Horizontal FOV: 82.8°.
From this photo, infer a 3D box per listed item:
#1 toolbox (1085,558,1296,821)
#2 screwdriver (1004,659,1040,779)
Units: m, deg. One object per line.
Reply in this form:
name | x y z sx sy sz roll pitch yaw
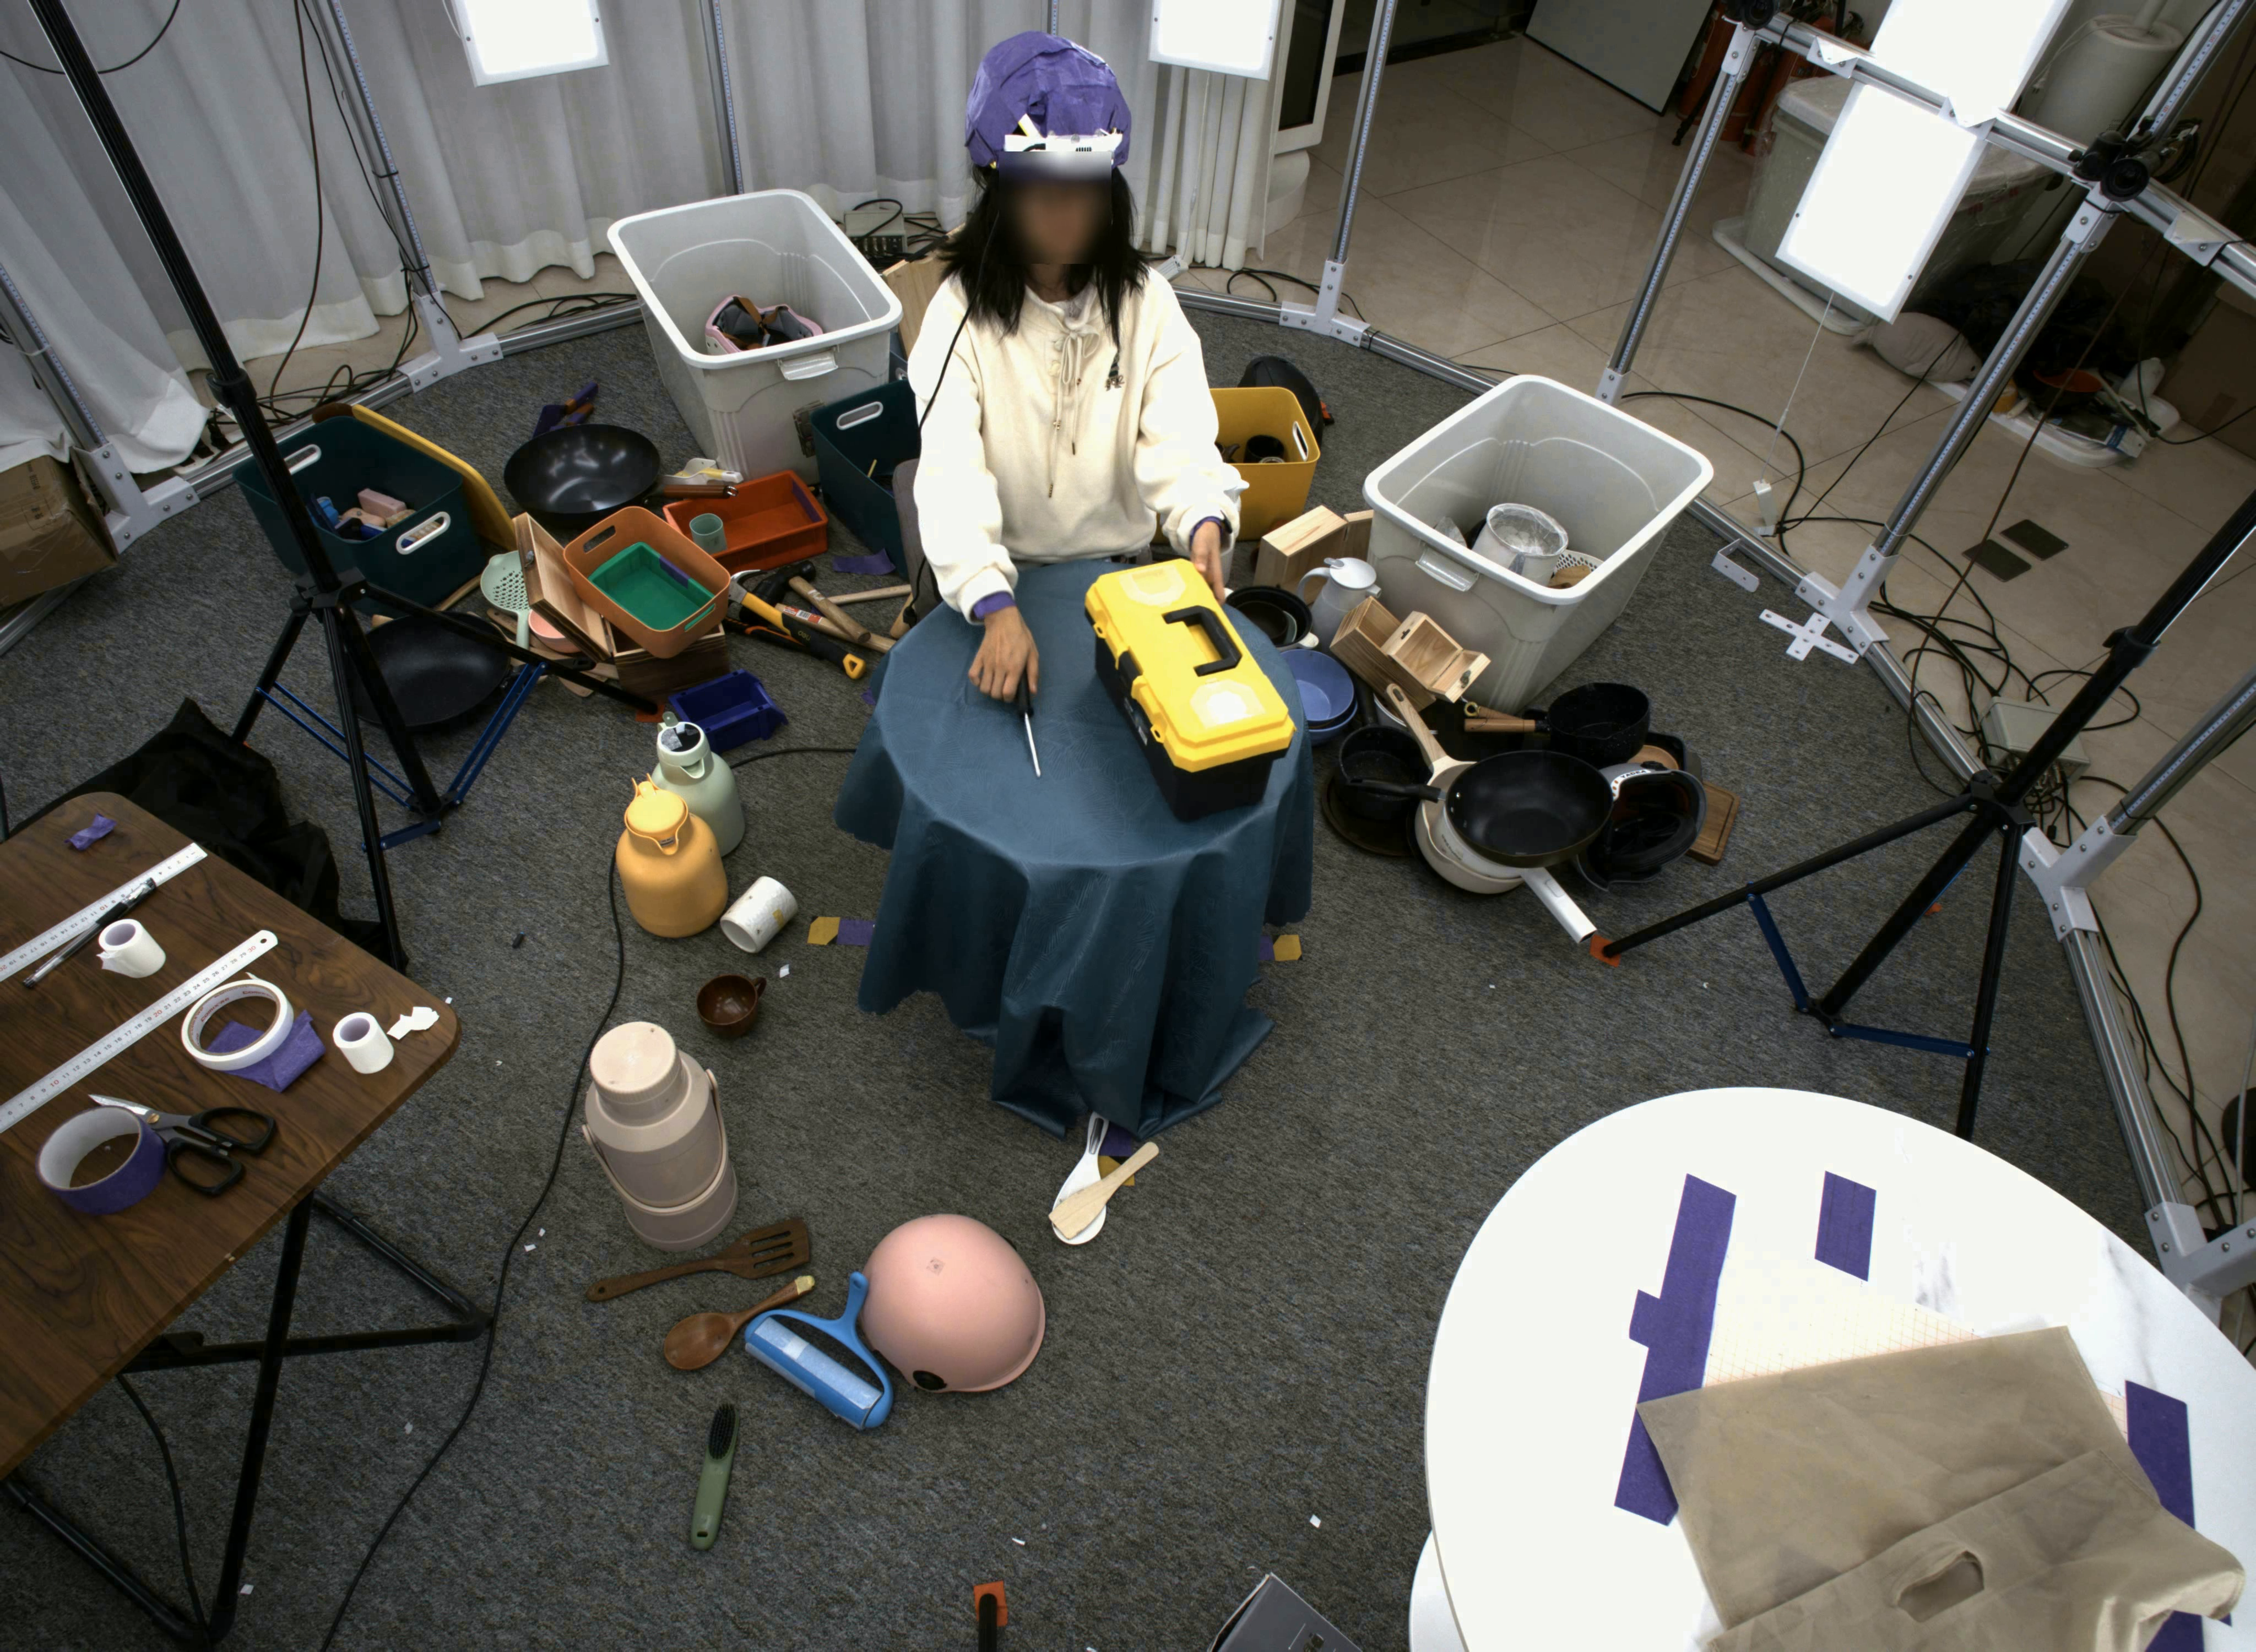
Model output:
toolbox | 0.075 -0.186 1.724 0.181 0.168 0.360 -14 52 -15
screwdriver | -0.143 -0.148 1.760 0.031 0.031 0.201 -7 57 -11
